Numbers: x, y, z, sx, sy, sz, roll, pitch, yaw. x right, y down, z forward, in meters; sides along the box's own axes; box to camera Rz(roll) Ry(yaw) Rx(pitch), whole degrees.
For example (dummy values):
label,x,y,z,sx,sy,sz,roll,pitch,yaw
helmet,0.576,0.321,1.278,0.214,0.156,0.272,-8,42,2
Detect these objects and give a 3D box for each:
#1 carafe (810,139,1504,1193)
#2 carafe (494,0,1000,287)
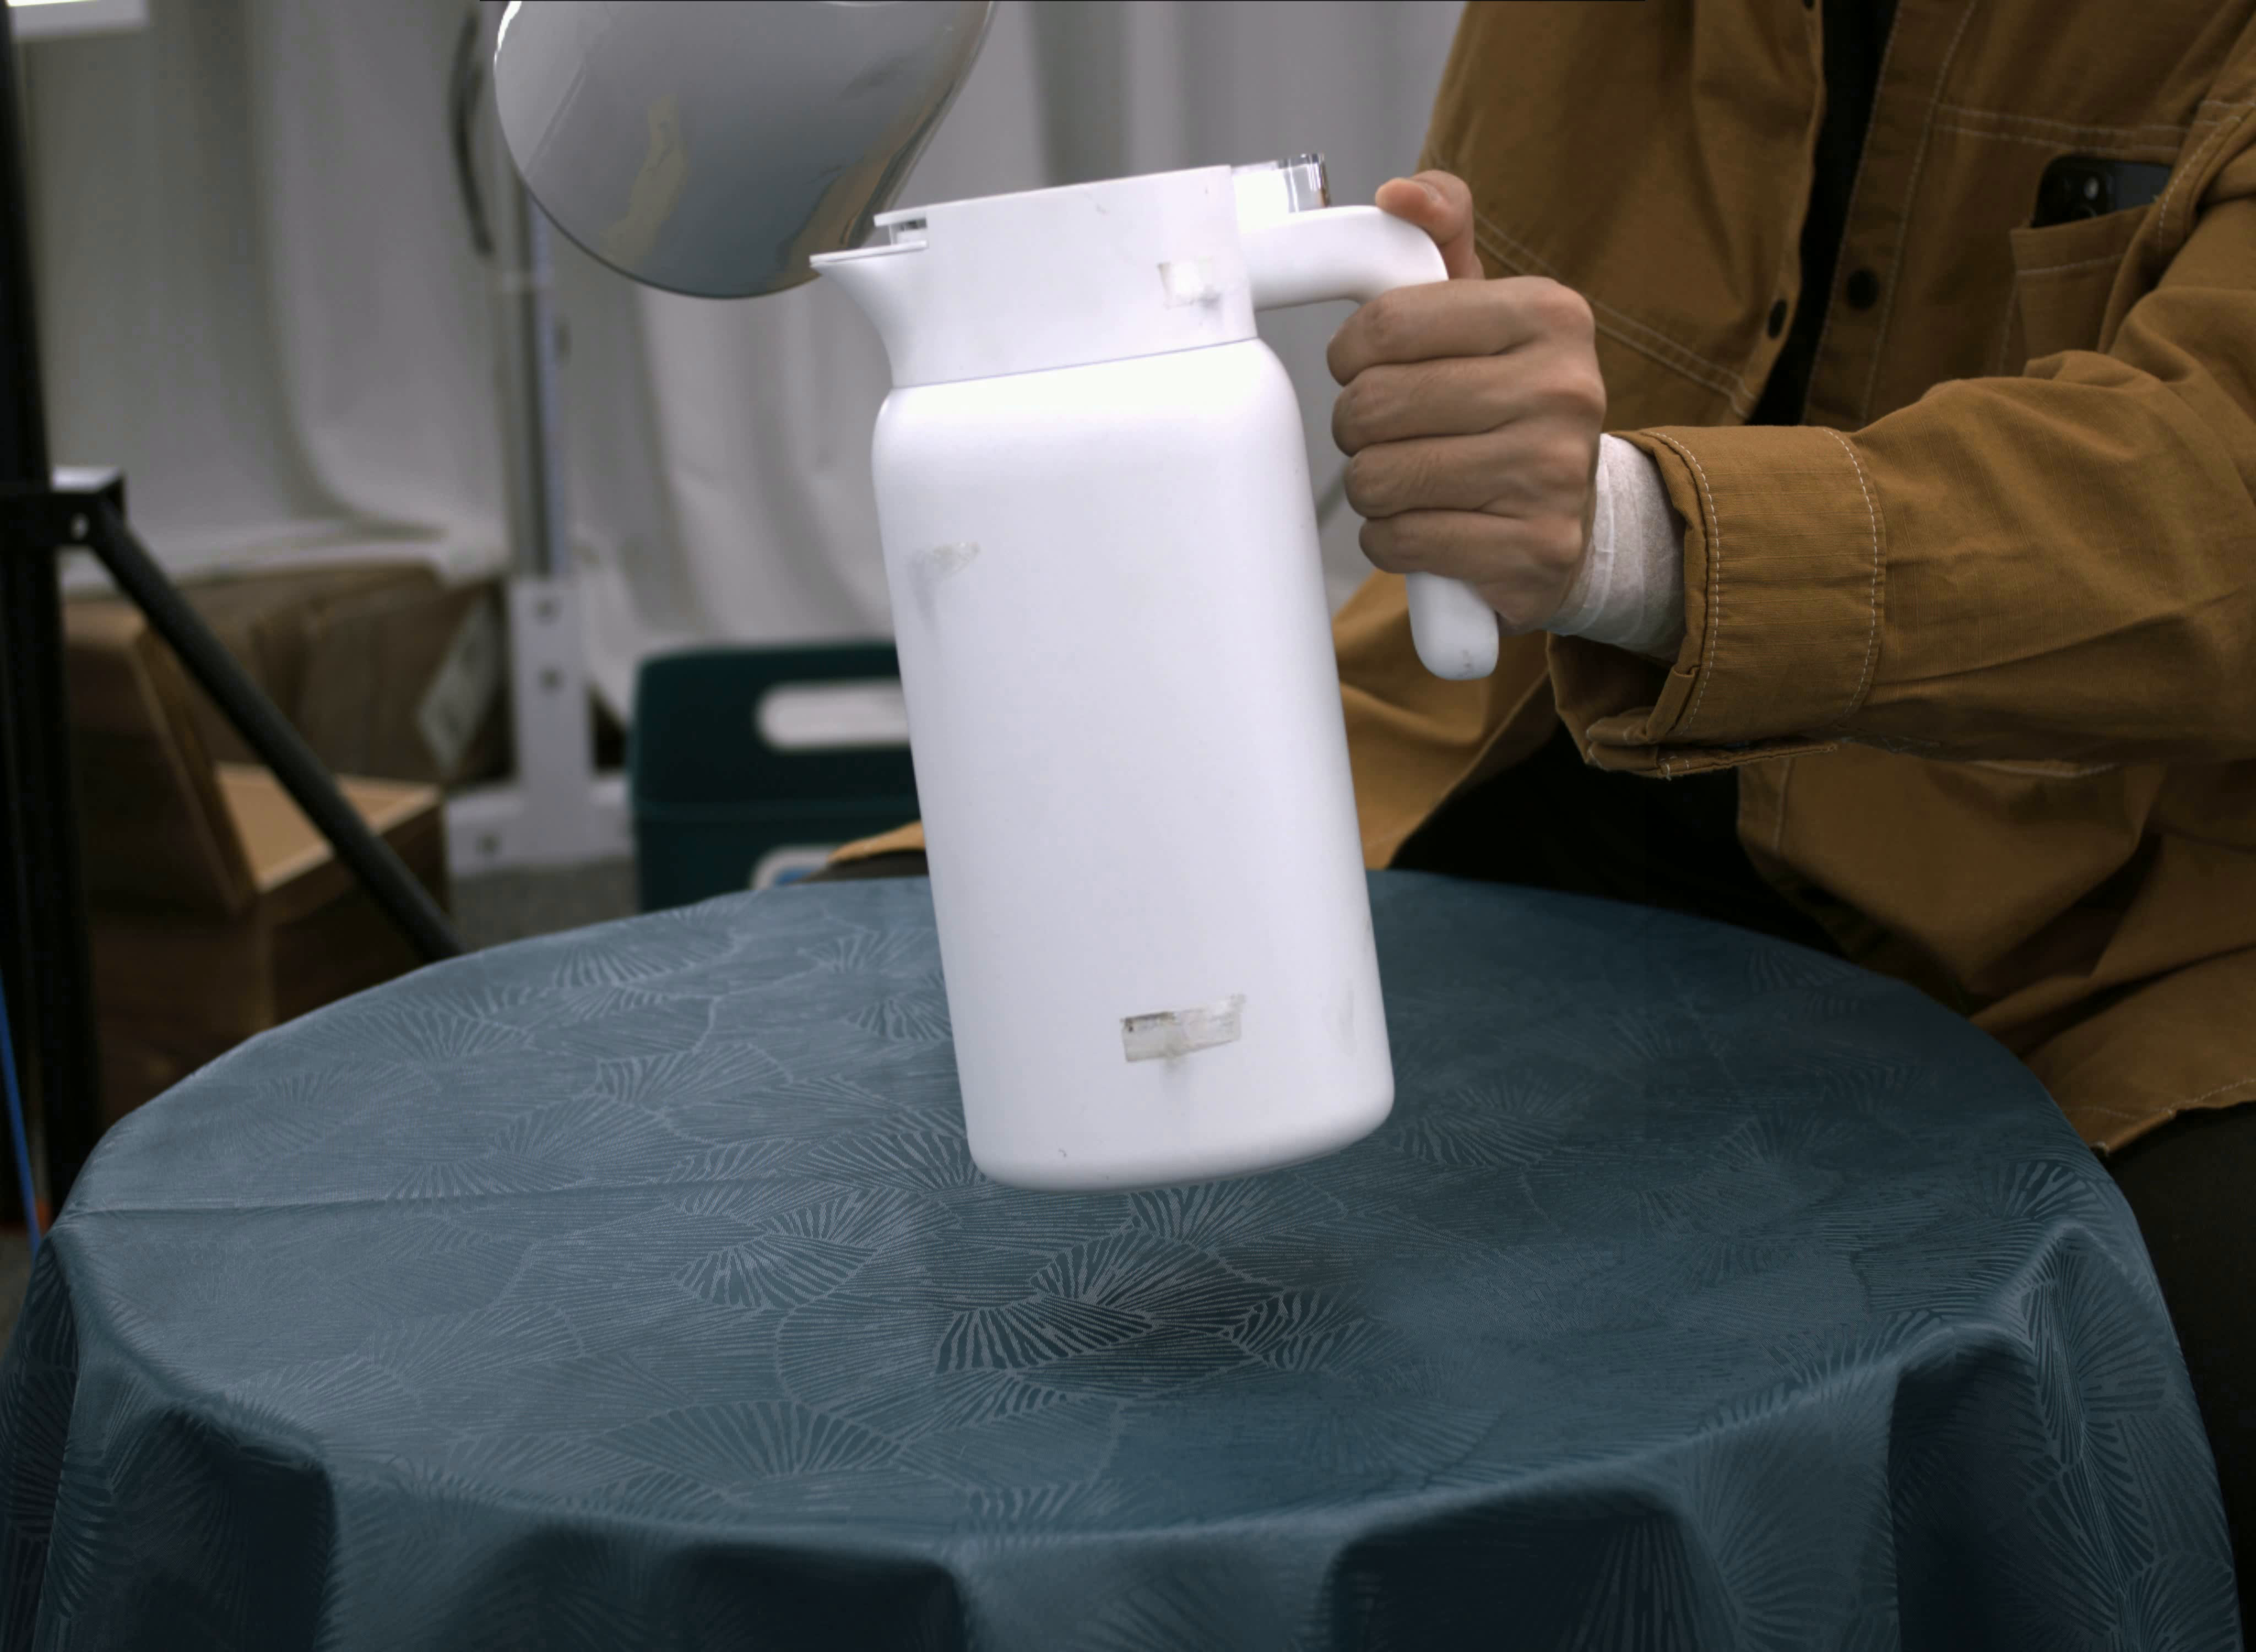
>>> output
label,x,y,z,sx,sy,sz,roll,pitch,yaw
carafe,0.015,-0.045,1.430,0.170,0.270,0.125,-9,3,-11
carafe,-0.103,-0.275,1.528,0.130,0.169,0.250,-24,-8,-21
